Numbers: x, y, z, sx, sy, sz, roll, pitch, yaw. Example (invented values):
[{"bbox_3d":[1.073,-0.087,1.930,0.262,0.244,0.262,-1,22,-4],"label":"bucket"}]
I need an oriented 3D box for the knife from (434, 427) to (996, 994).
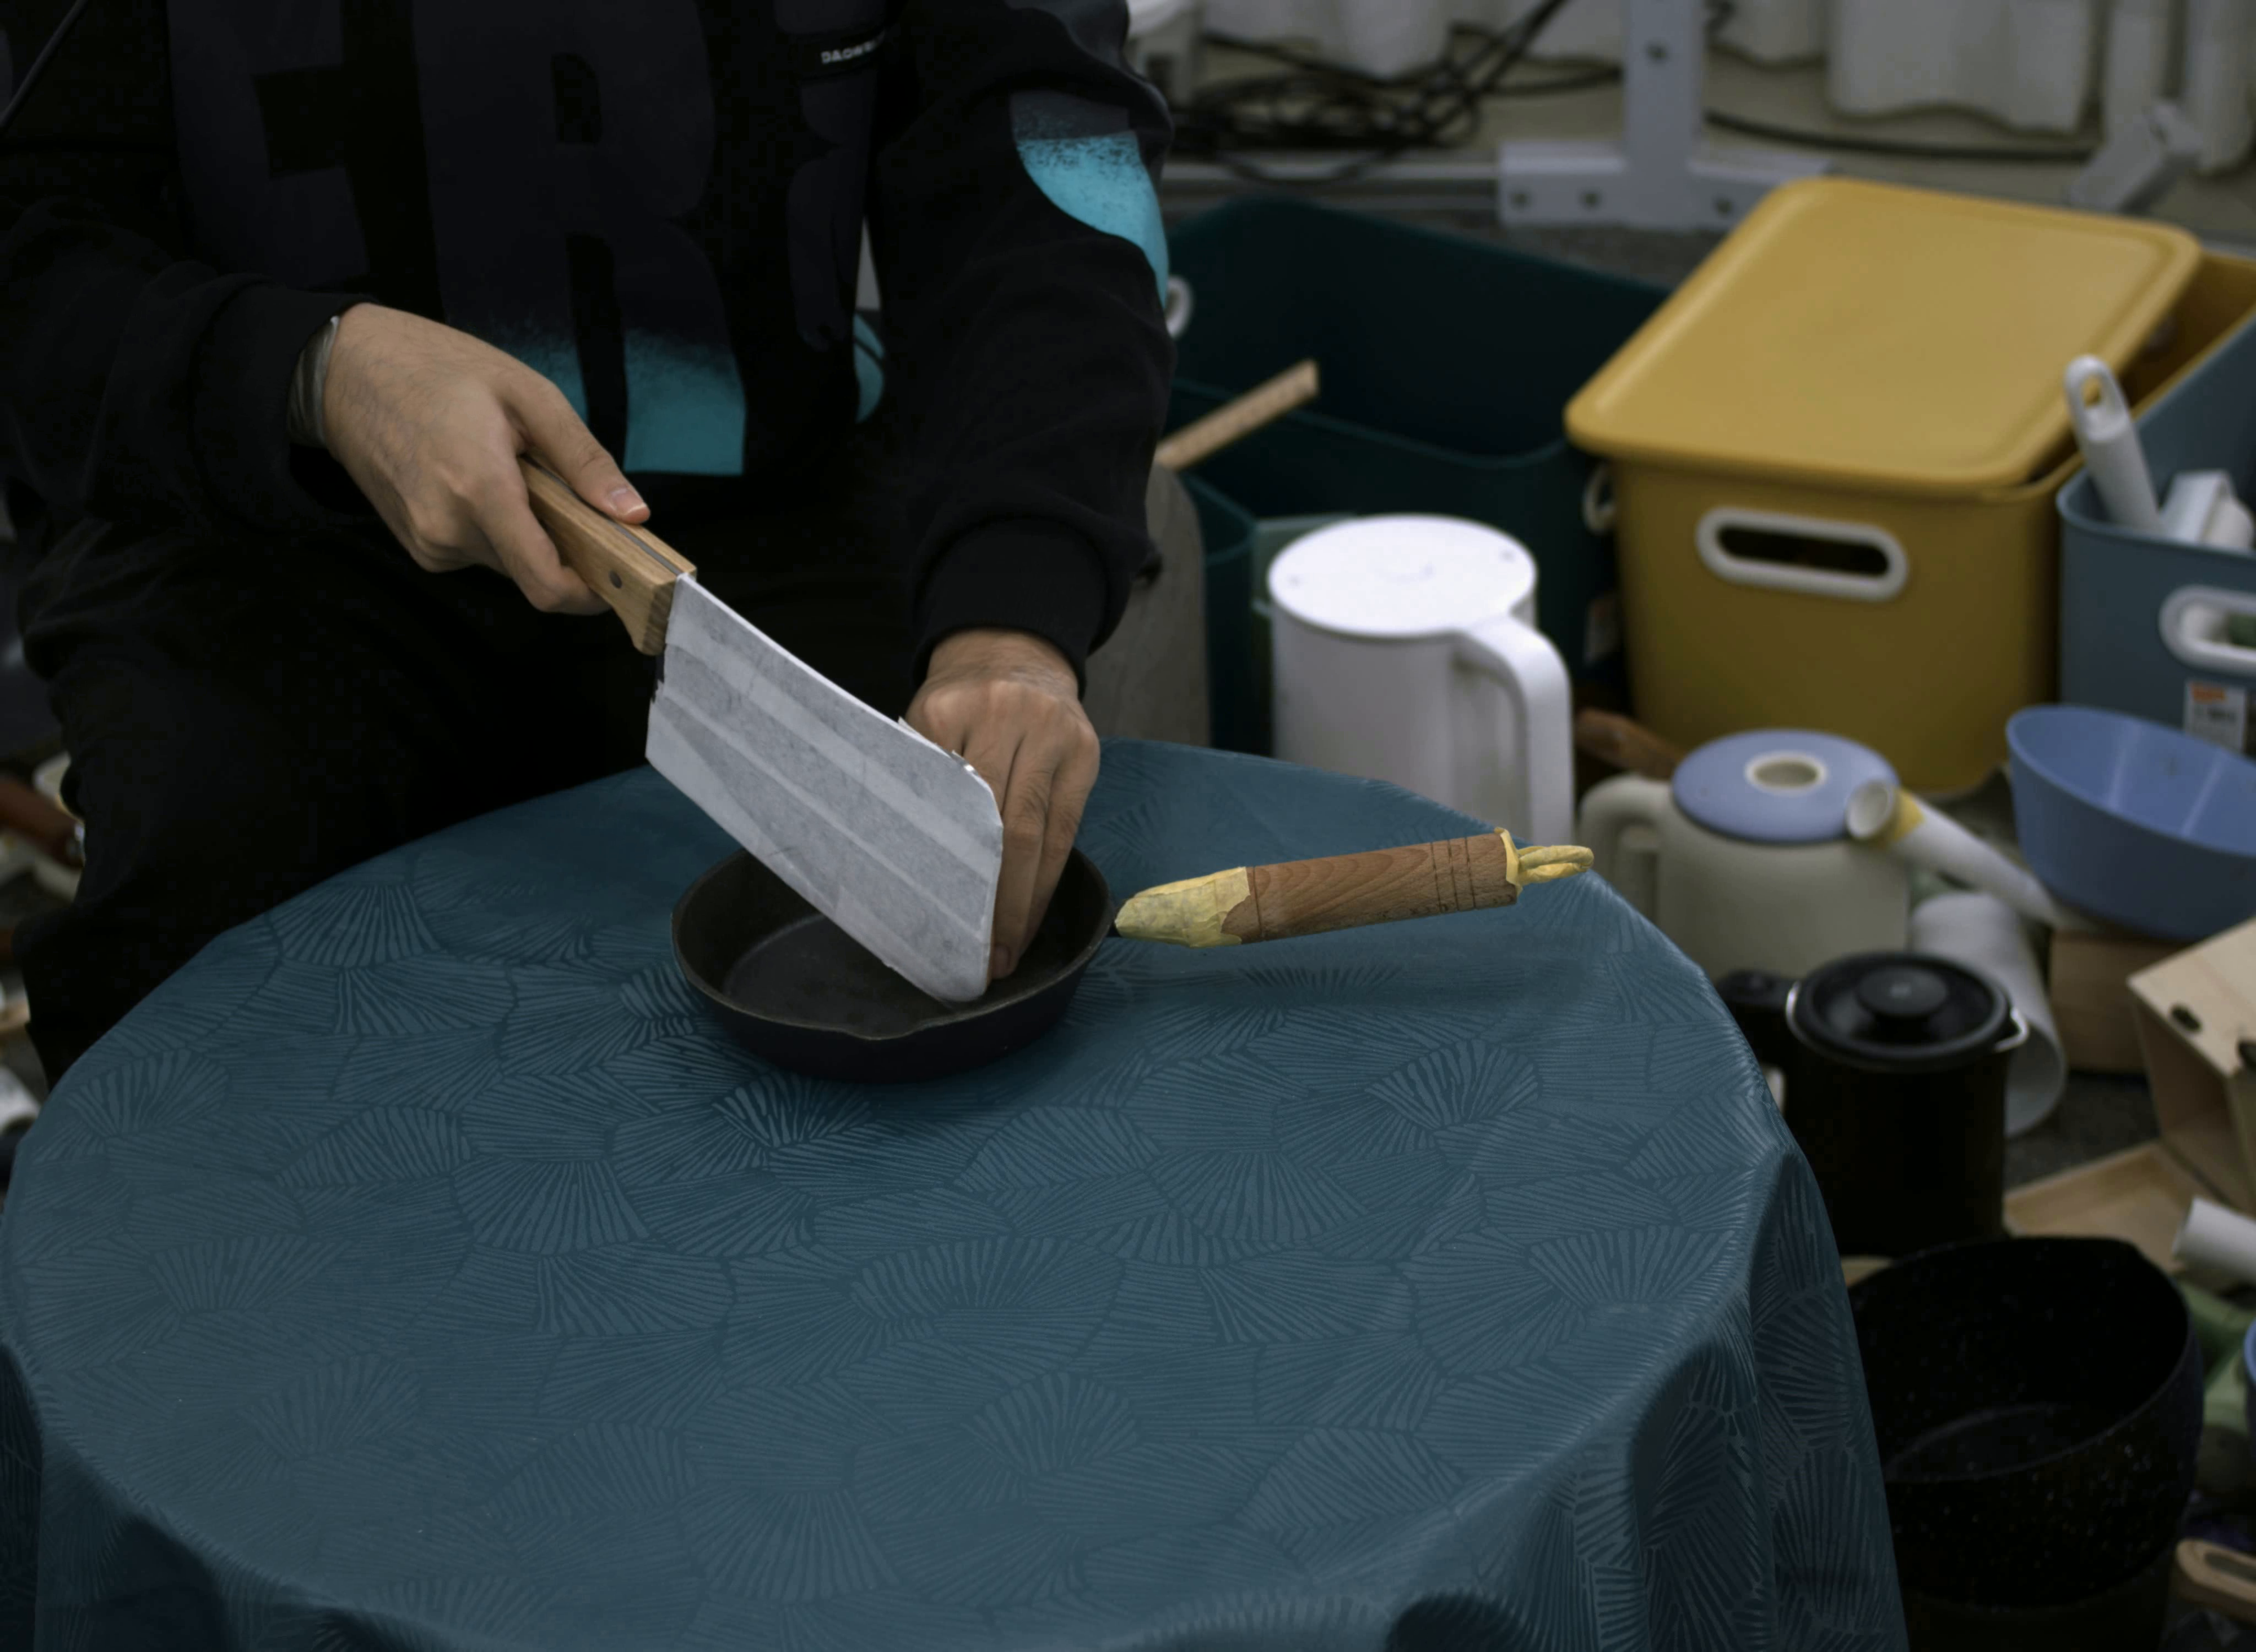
[{"bbox_3d":[-0.147,-0.050,2.007,0.022,0.112,0.317,-21,49,-39],"label":"knife"}]

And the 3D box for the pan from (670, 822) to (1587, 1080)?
[{"bbox_3d":[0.001,0.035,1.976,0.322,0.049,0.171,-3,26,1],"label":"pan"}]
